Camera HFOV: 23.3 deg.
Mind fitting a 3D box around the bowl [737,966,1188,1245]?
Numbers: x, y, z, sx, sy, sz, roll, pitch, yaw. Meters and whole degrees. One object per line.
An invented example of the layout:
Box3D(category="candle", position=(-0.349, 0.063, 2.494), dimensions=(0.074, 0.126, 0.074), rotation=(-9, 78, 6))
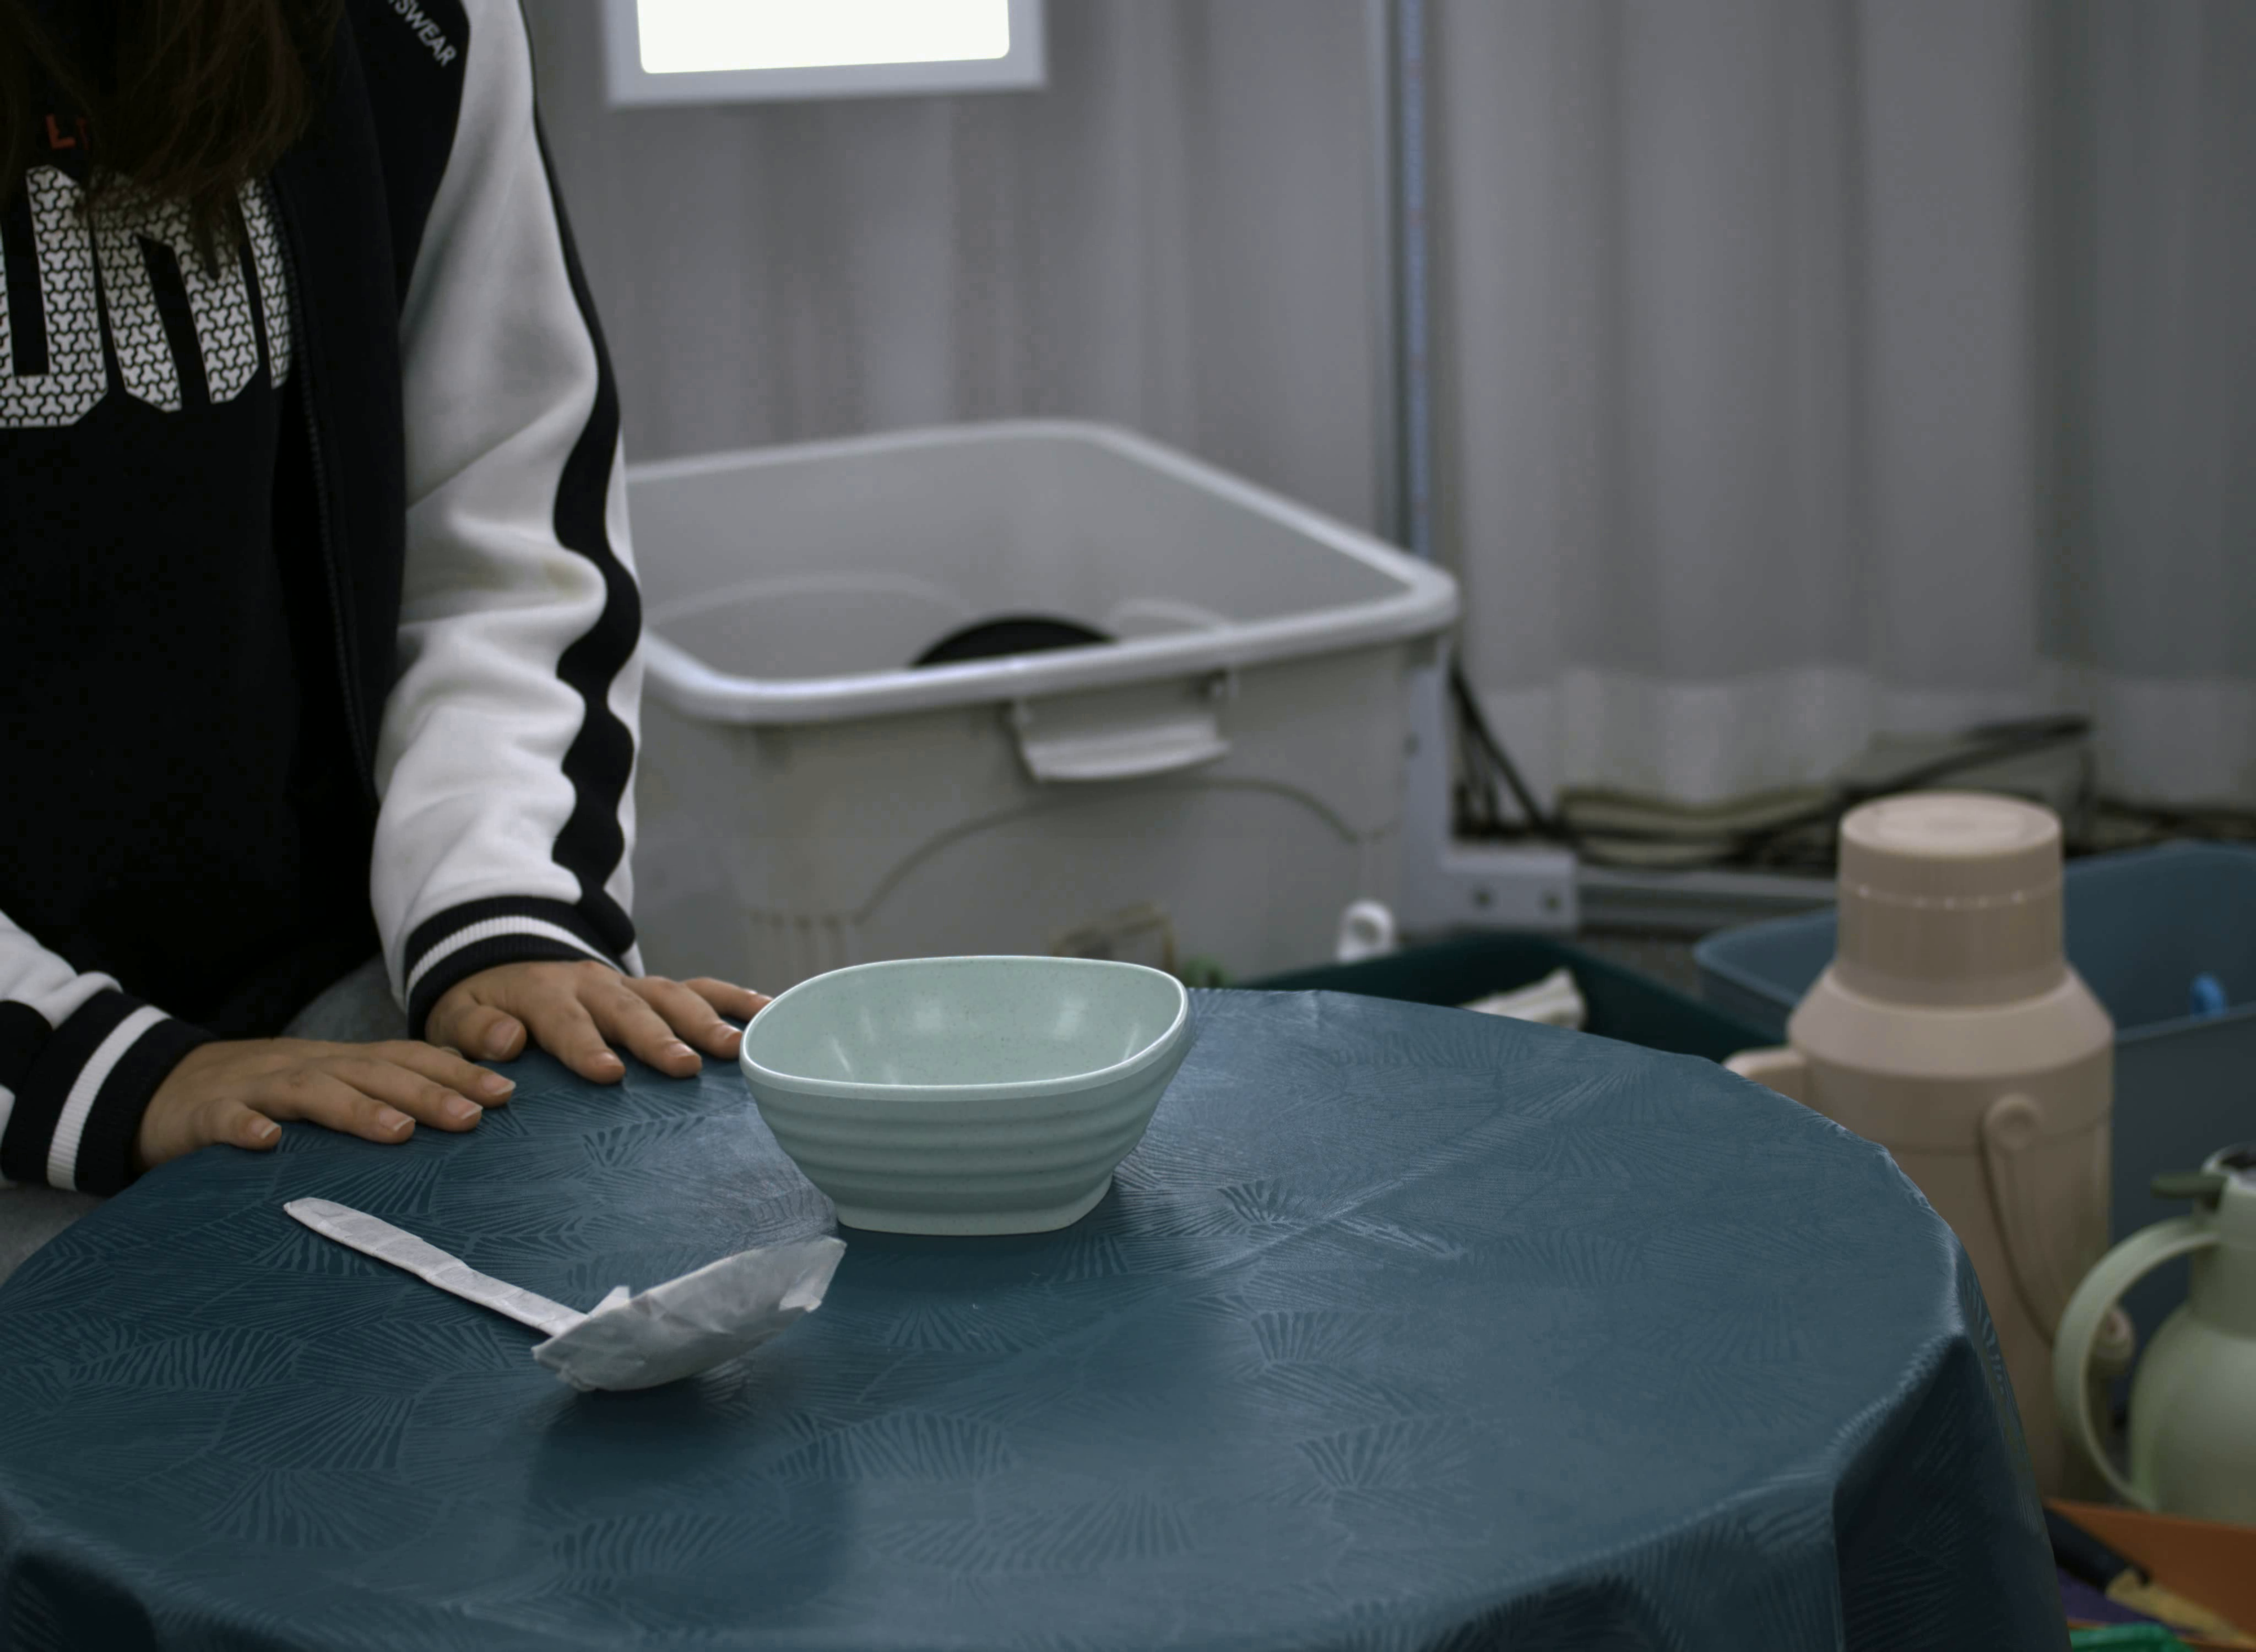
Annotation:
Box3D(category="bowl", position=(-0.050, 0.091, 1.715), dimensions=(0.151, 0.058, 0.152), rotation=(-3, 14, 0))

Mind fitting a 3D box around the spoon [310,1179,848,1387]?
Box3D(category="spoon", position=(-0.176, 0.117, 1.631), dimensions=(0.100, 0.059, 0.279), rotation=(-7, 15, -33))
